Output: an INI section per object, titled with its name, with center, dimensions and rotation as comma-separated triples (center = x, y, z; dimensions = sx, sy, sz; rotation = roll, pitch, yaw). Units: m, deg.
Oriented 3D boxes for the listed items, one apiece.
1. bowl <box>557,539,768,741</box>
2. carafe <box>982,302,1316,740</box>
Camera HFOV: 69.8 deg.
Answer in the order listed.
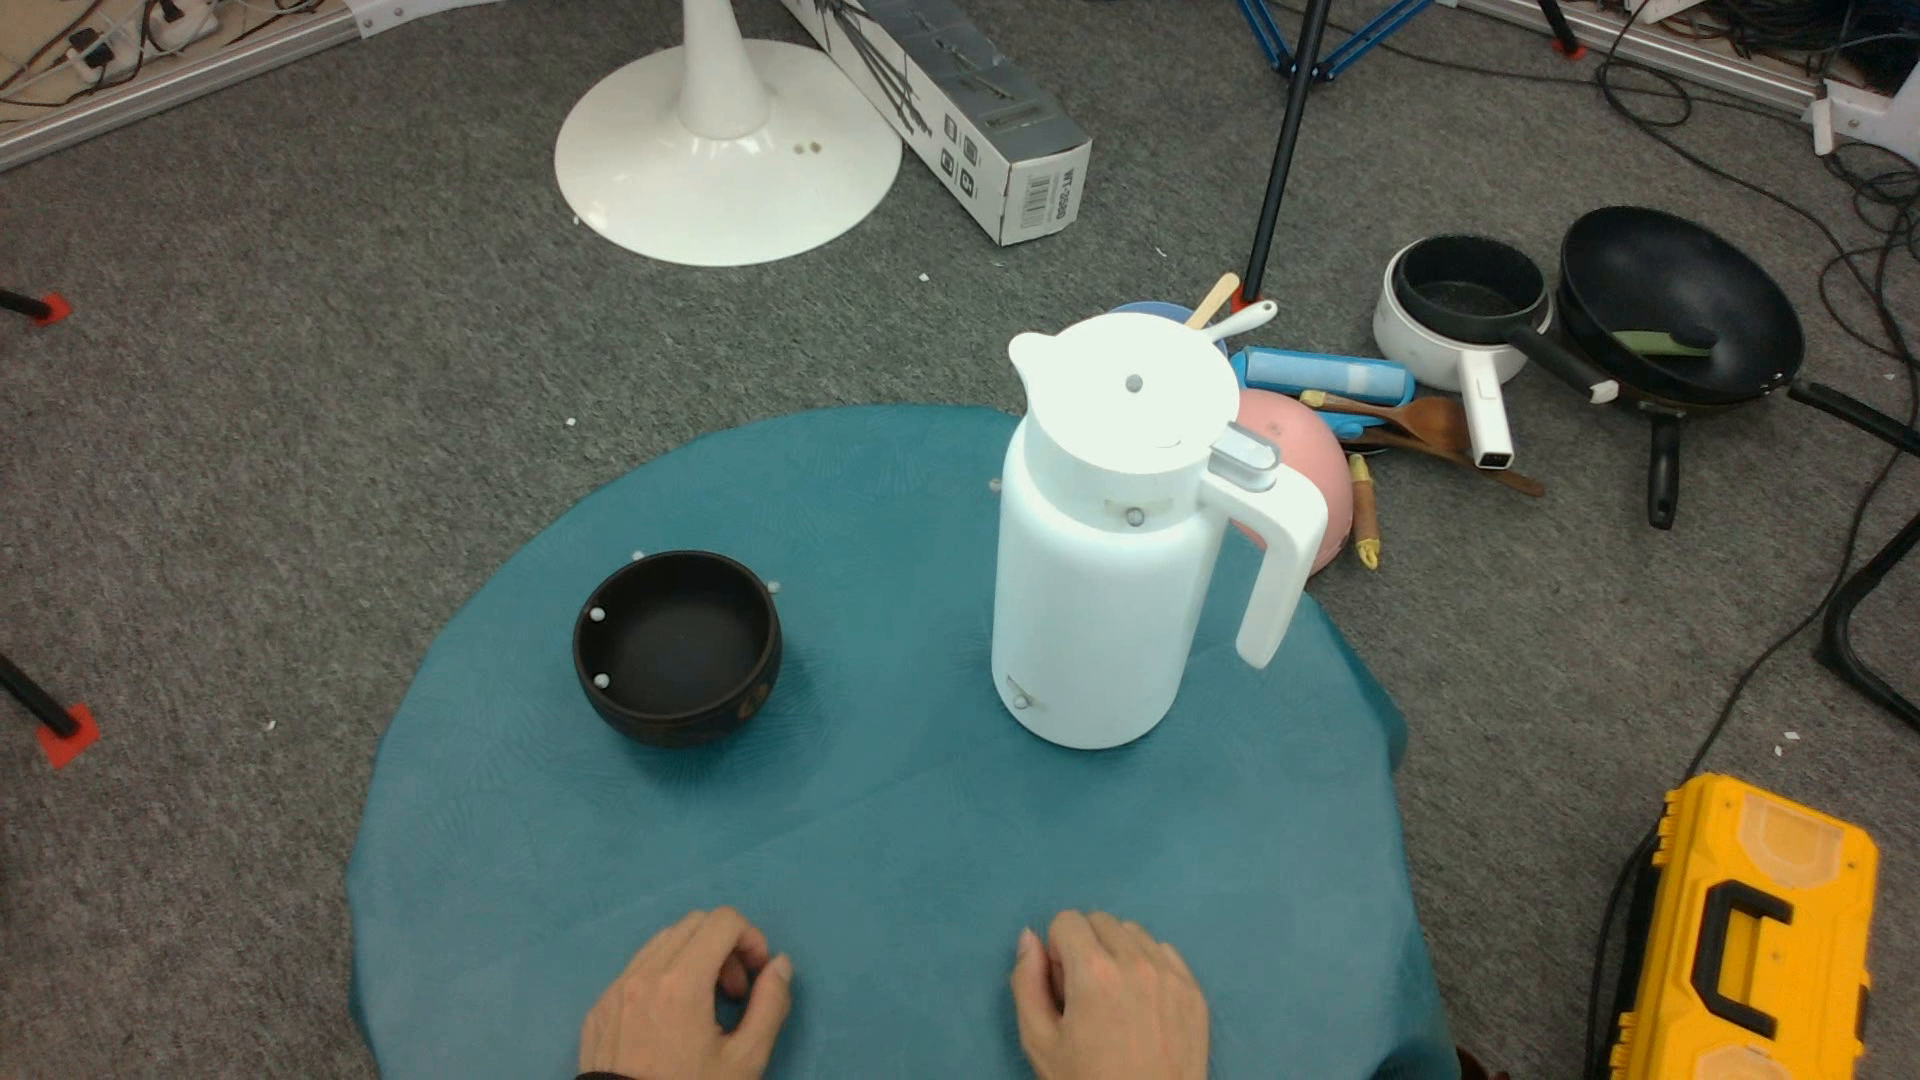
[bowl]
center = -0.171, 0.065, 0.808
dimensions = 0.118, 0.069, 0.118
rotation = 1, 55, -2
[carafe]
center = 0.088, 0.007, 0.741
dimensions = 0.173, 0.267, 0.124
rotation = 29, 57, 17
